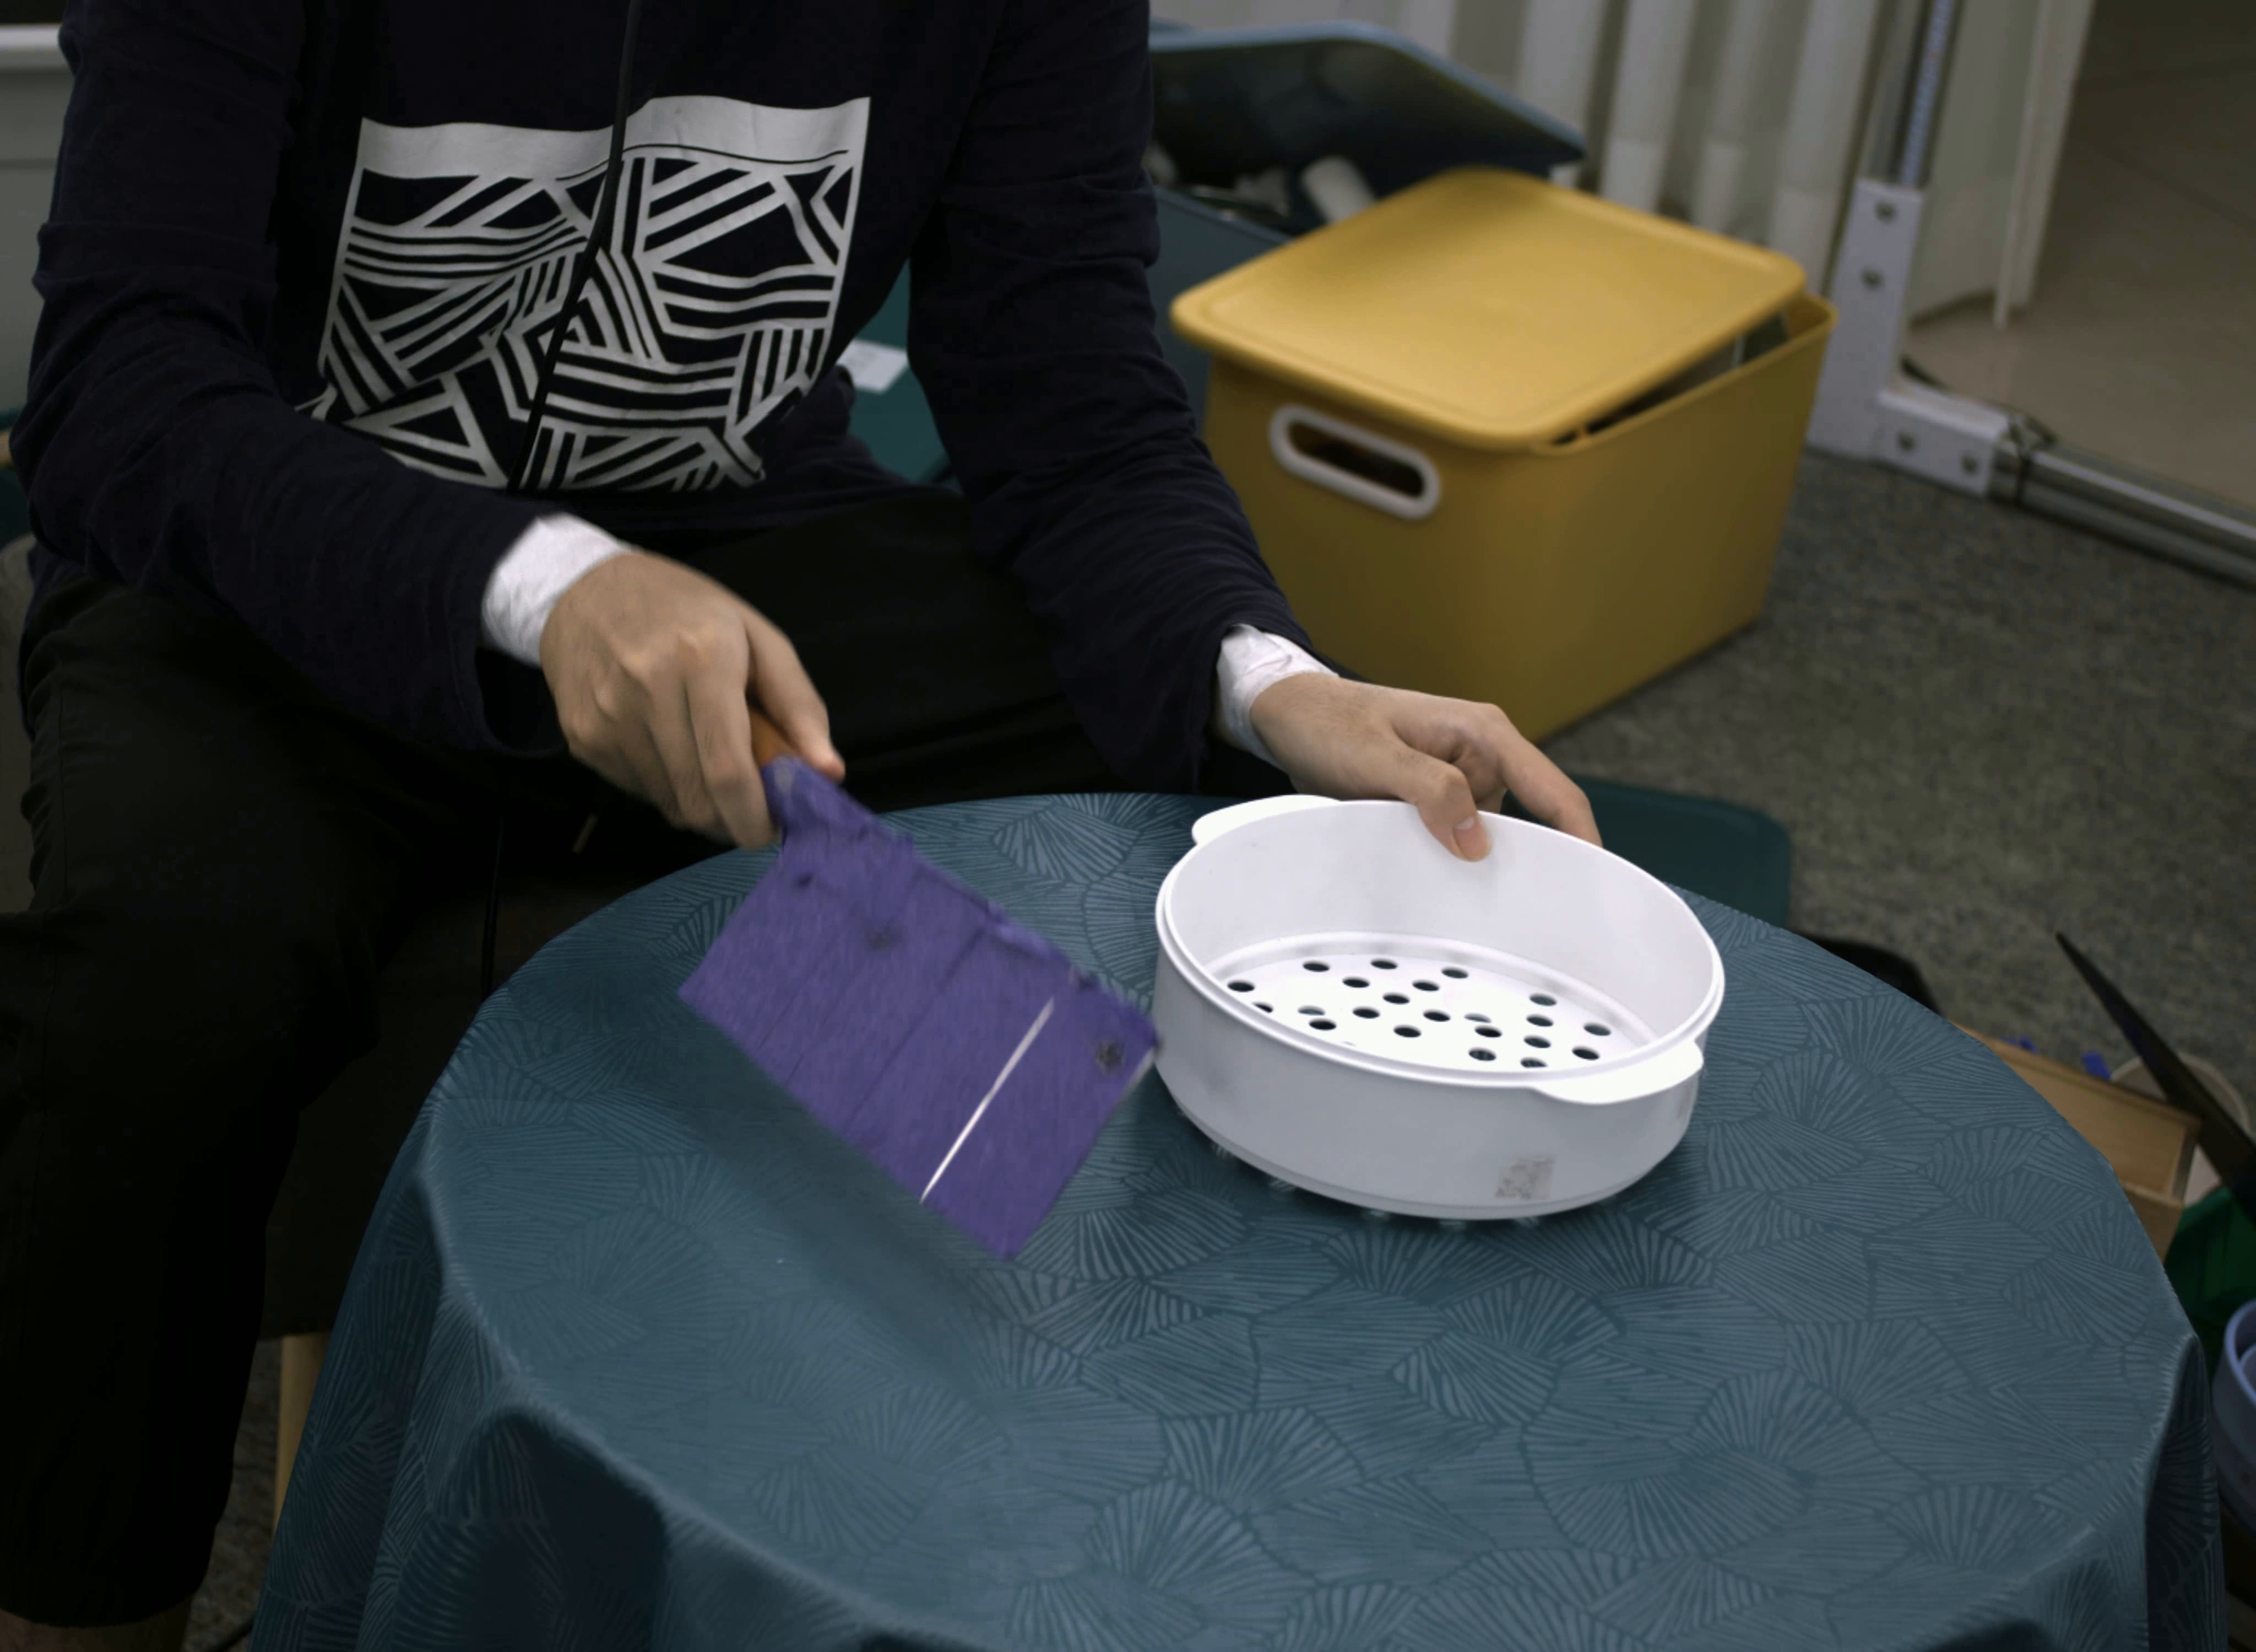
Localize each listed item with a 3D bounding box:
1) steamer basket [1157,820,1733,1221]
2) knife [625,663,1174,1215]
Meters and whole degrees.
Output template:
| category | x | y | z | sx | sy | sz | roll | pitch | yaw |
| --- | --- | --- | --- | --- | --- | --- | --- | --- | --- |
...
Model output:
| category | x | y | z | sx | sy | sz | roll | pitch | yaw |
| --- | --- | --- | --- | --- | --- | --- | --- | --- | --- |
| steamer basket | 0.109 | 0.069 | 1.867 | 0.200 | 0.069 | 0.232 | -12 | 29 | -34 |
| knife | -0.100 | 0.035 | 1.790 | 0.032 | 0.104 | 0.318 | 35 | -1 | -40 |
